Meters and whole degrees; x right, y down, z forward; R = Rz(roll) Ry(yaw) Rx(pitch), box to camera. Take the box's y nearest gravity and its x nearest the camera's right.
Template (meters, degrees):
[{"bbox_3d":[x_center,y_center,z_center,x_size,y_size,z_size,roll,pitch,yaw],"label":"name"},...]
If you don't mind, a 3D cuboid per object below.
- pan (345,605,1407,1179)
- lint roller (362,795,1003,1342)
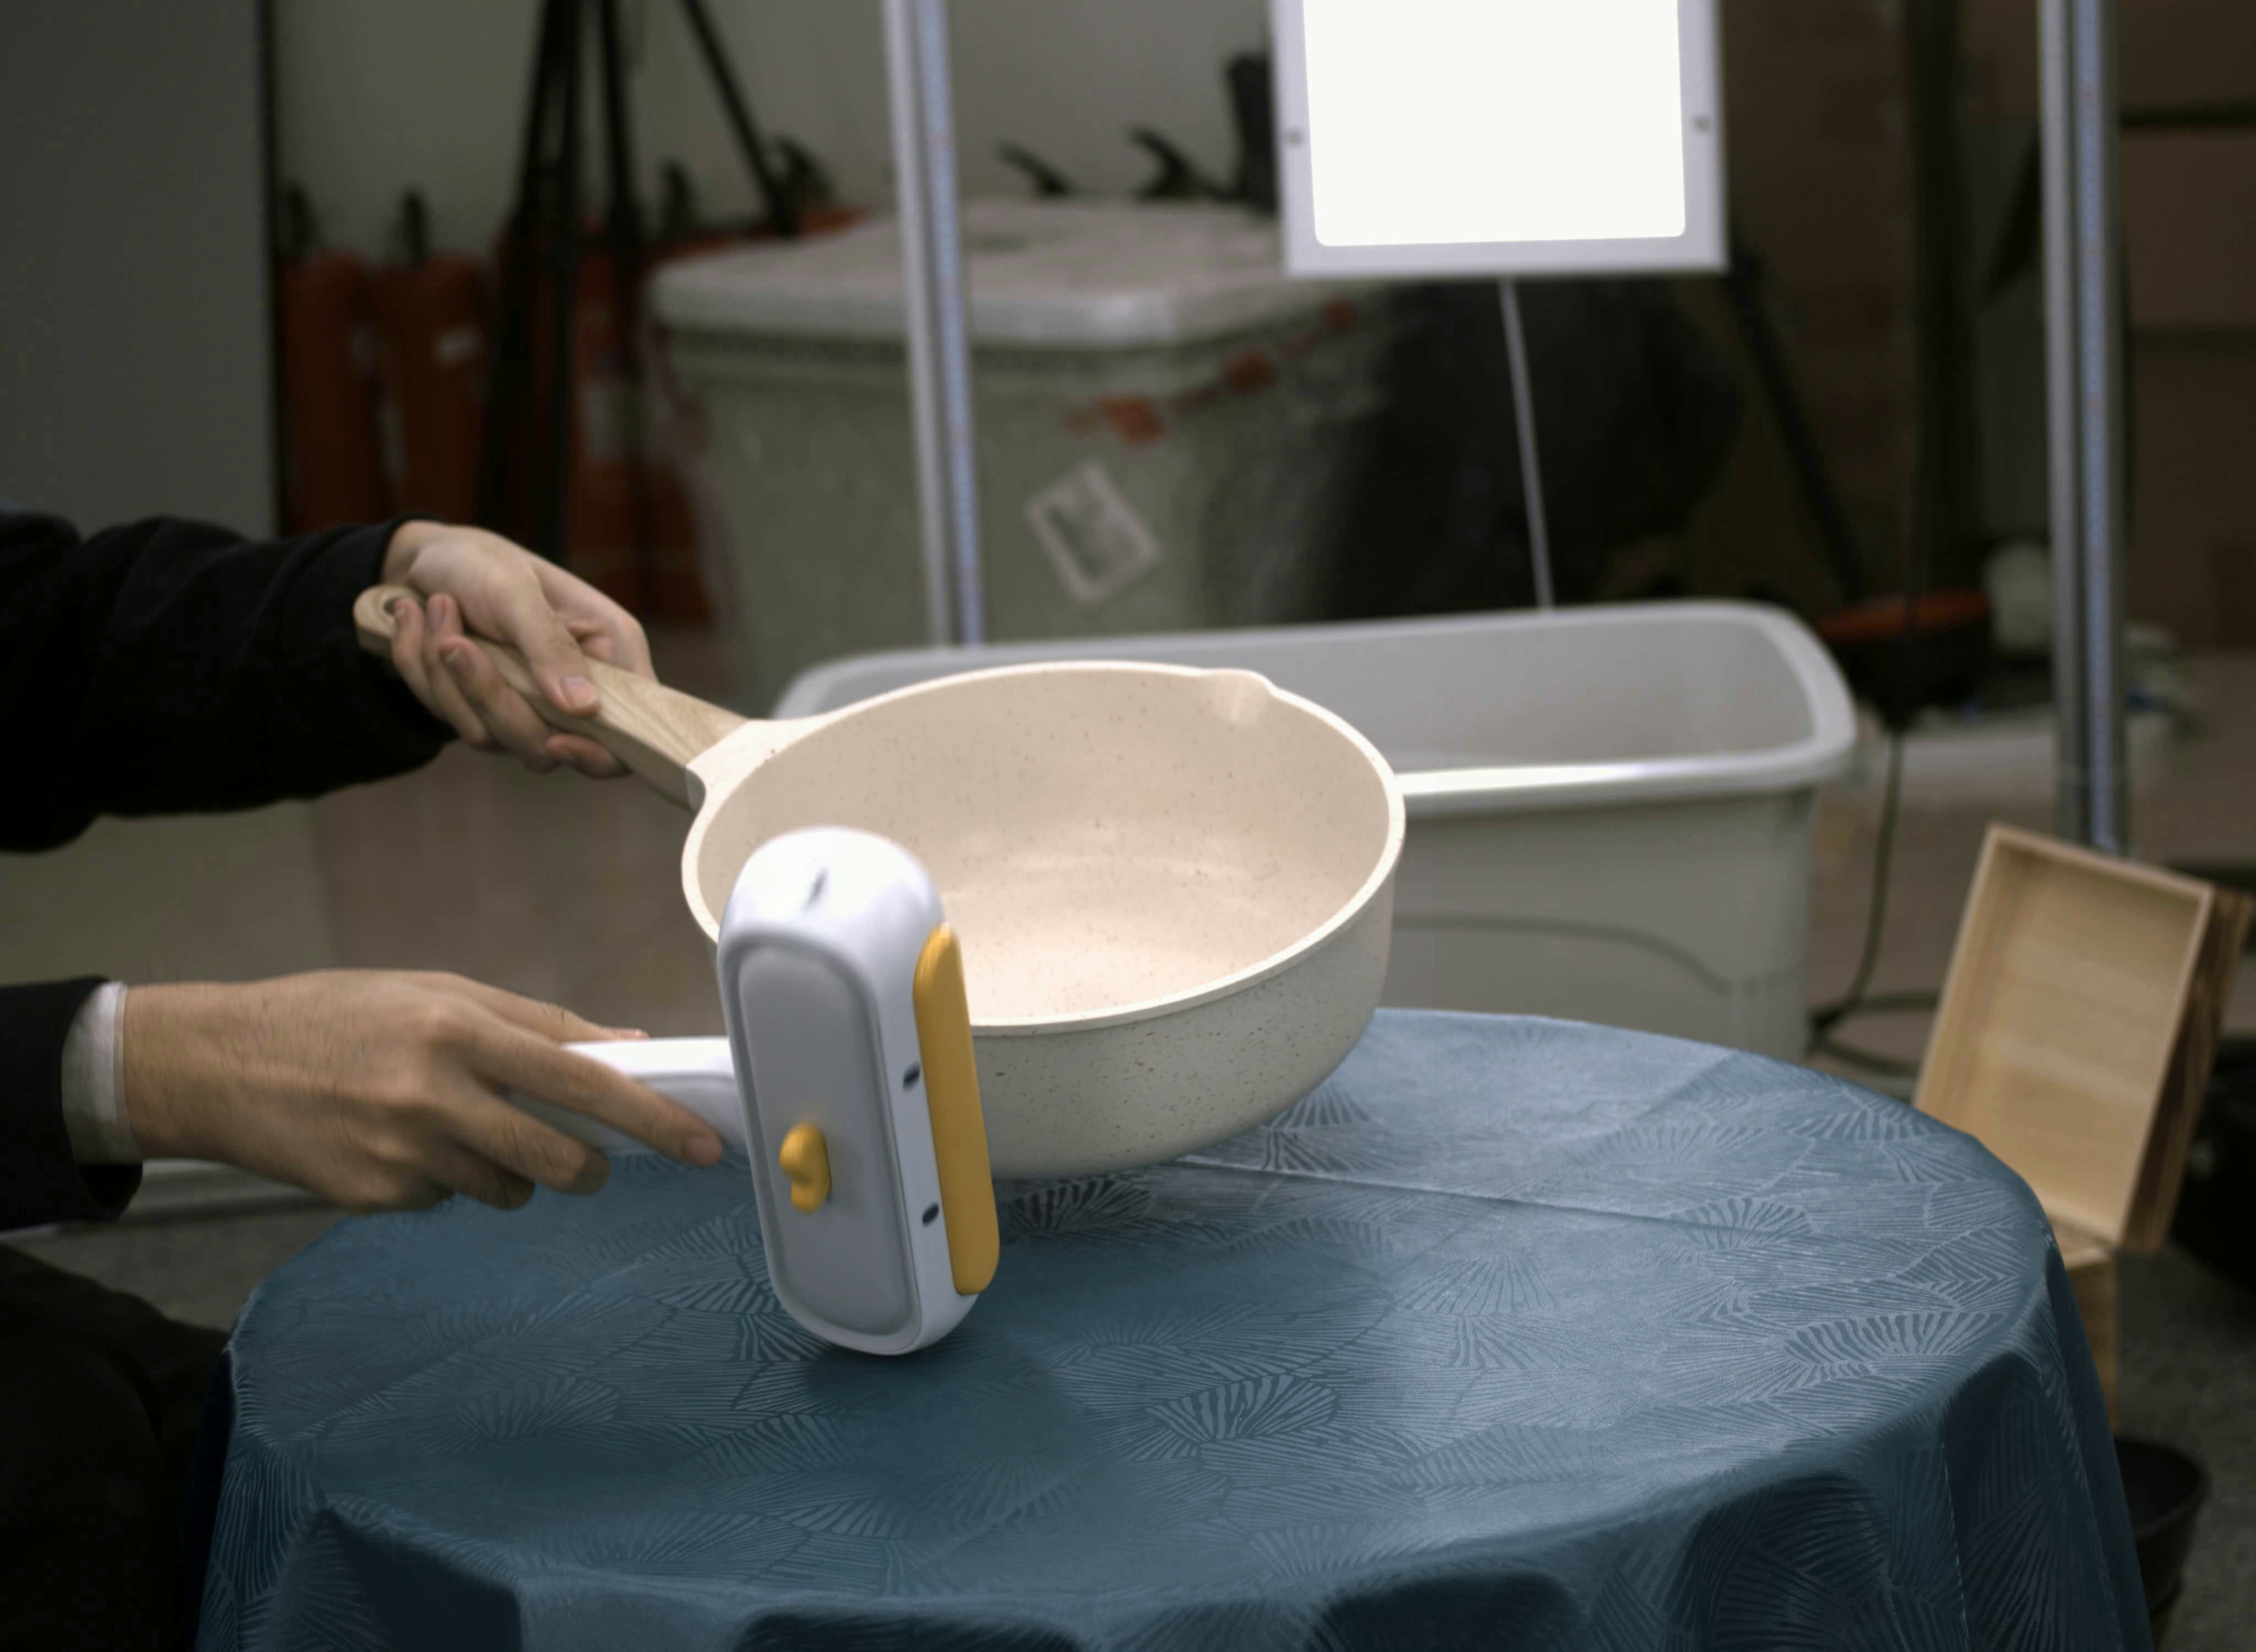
[{"bbox_3d":[-0.101,0.008,1.966,0.443,0.102,0.258,14,38,33],"label":"pan"},{"bbox_3d":[-0.143,0.081,1.716,0.195,0.193,0.073,2,41,18],"label":"lint roller"}]
